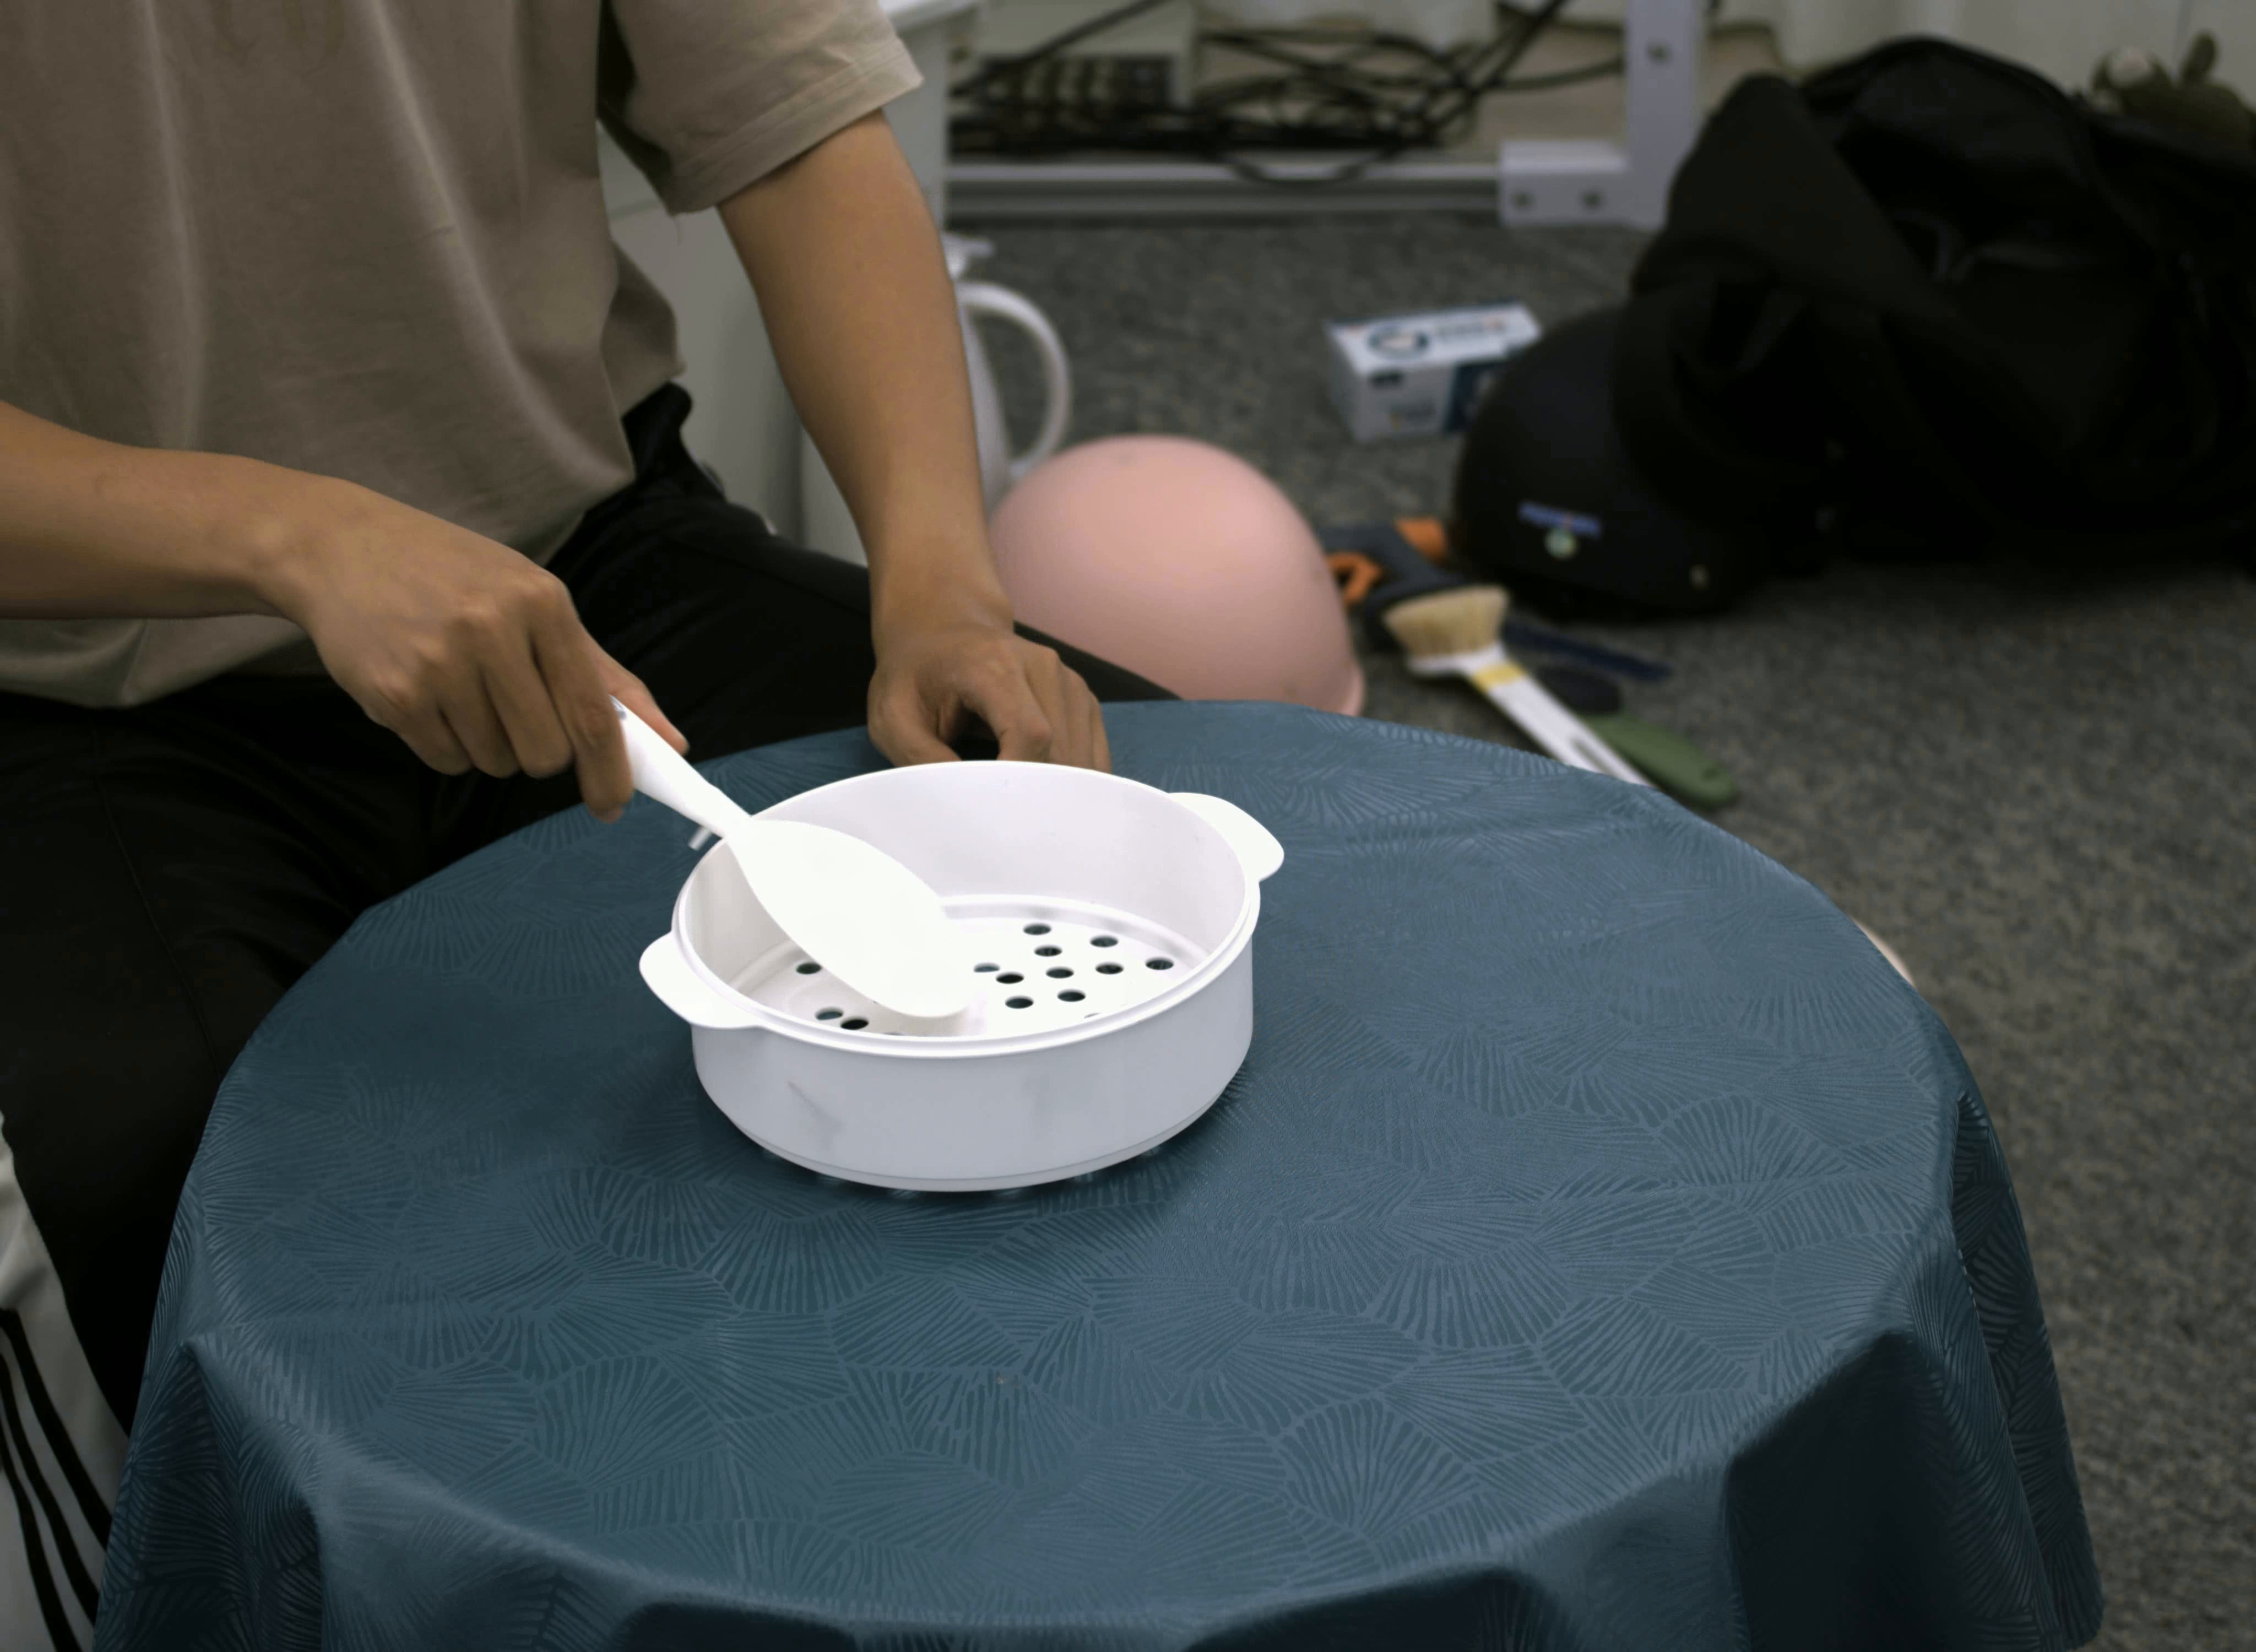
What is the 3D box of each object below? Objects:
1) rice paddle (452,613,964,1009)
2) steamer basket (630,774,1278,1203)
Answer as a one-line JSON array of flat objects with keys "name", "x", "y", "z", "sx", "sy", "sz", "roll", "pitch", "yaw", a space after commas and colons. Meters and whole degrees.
[{"name": "rice paddle", "x": -0.139, "y": -0.003, "z": 1.926, "sx": 0.204, "sy": 0.029, "sz": 0.070, "roll": 35, "pitch": 36, "yaw": -9}, {"name": "steamer basket", "x": -0.058, "y": 0.056, "z": 1.924, "sx": 0.231, "sy": 0.068, "sz": 0.203, "roll": -13, "pitch": 30, "yaw": -24}]
